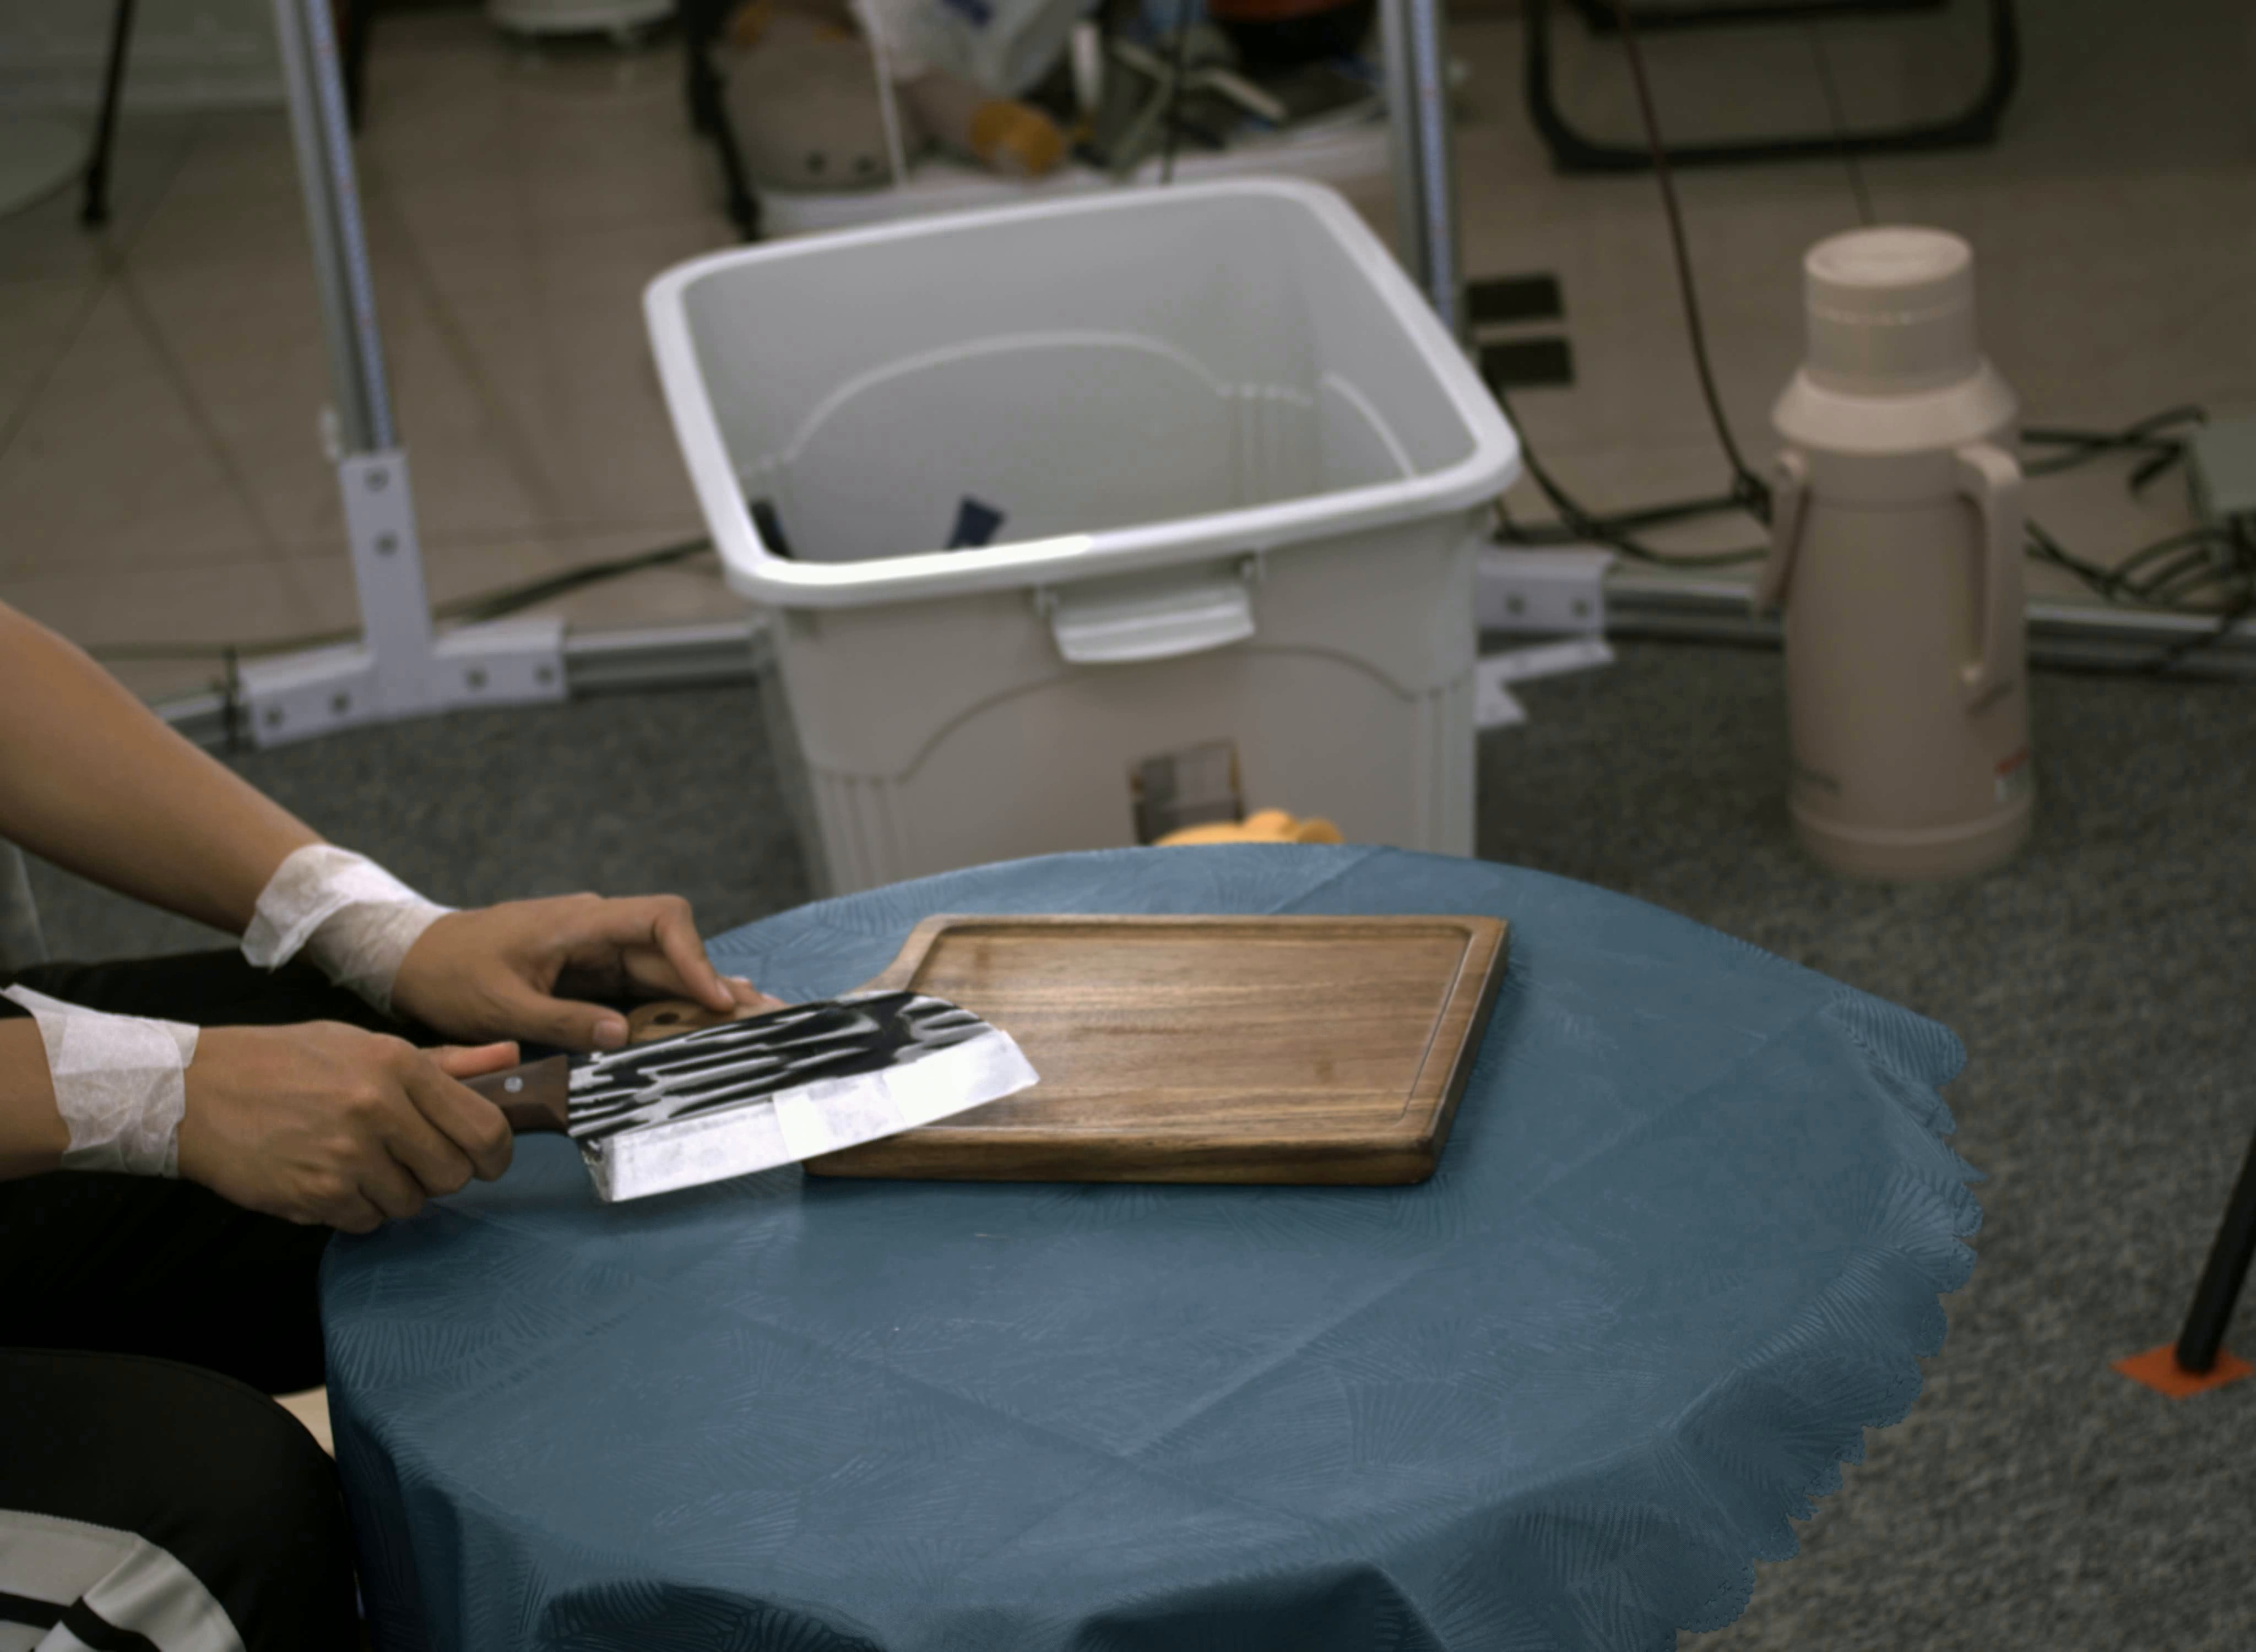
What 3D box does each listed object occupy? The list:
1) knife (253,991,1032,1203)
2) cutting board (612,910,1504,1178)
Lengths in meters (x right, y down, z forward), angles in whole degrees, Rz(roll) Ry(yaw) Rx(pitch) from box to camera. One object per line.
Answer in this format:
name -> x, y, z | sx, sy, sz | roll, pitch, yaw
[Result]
knife -> -0.187, 0.110, 2.181 | 0.299, 0.024, 0.067 | -12, 59, -2
cutting board -> -0.036, 0.085, 2.251 | 0.351, 0.023, 0.198 | -1, 25, 14
